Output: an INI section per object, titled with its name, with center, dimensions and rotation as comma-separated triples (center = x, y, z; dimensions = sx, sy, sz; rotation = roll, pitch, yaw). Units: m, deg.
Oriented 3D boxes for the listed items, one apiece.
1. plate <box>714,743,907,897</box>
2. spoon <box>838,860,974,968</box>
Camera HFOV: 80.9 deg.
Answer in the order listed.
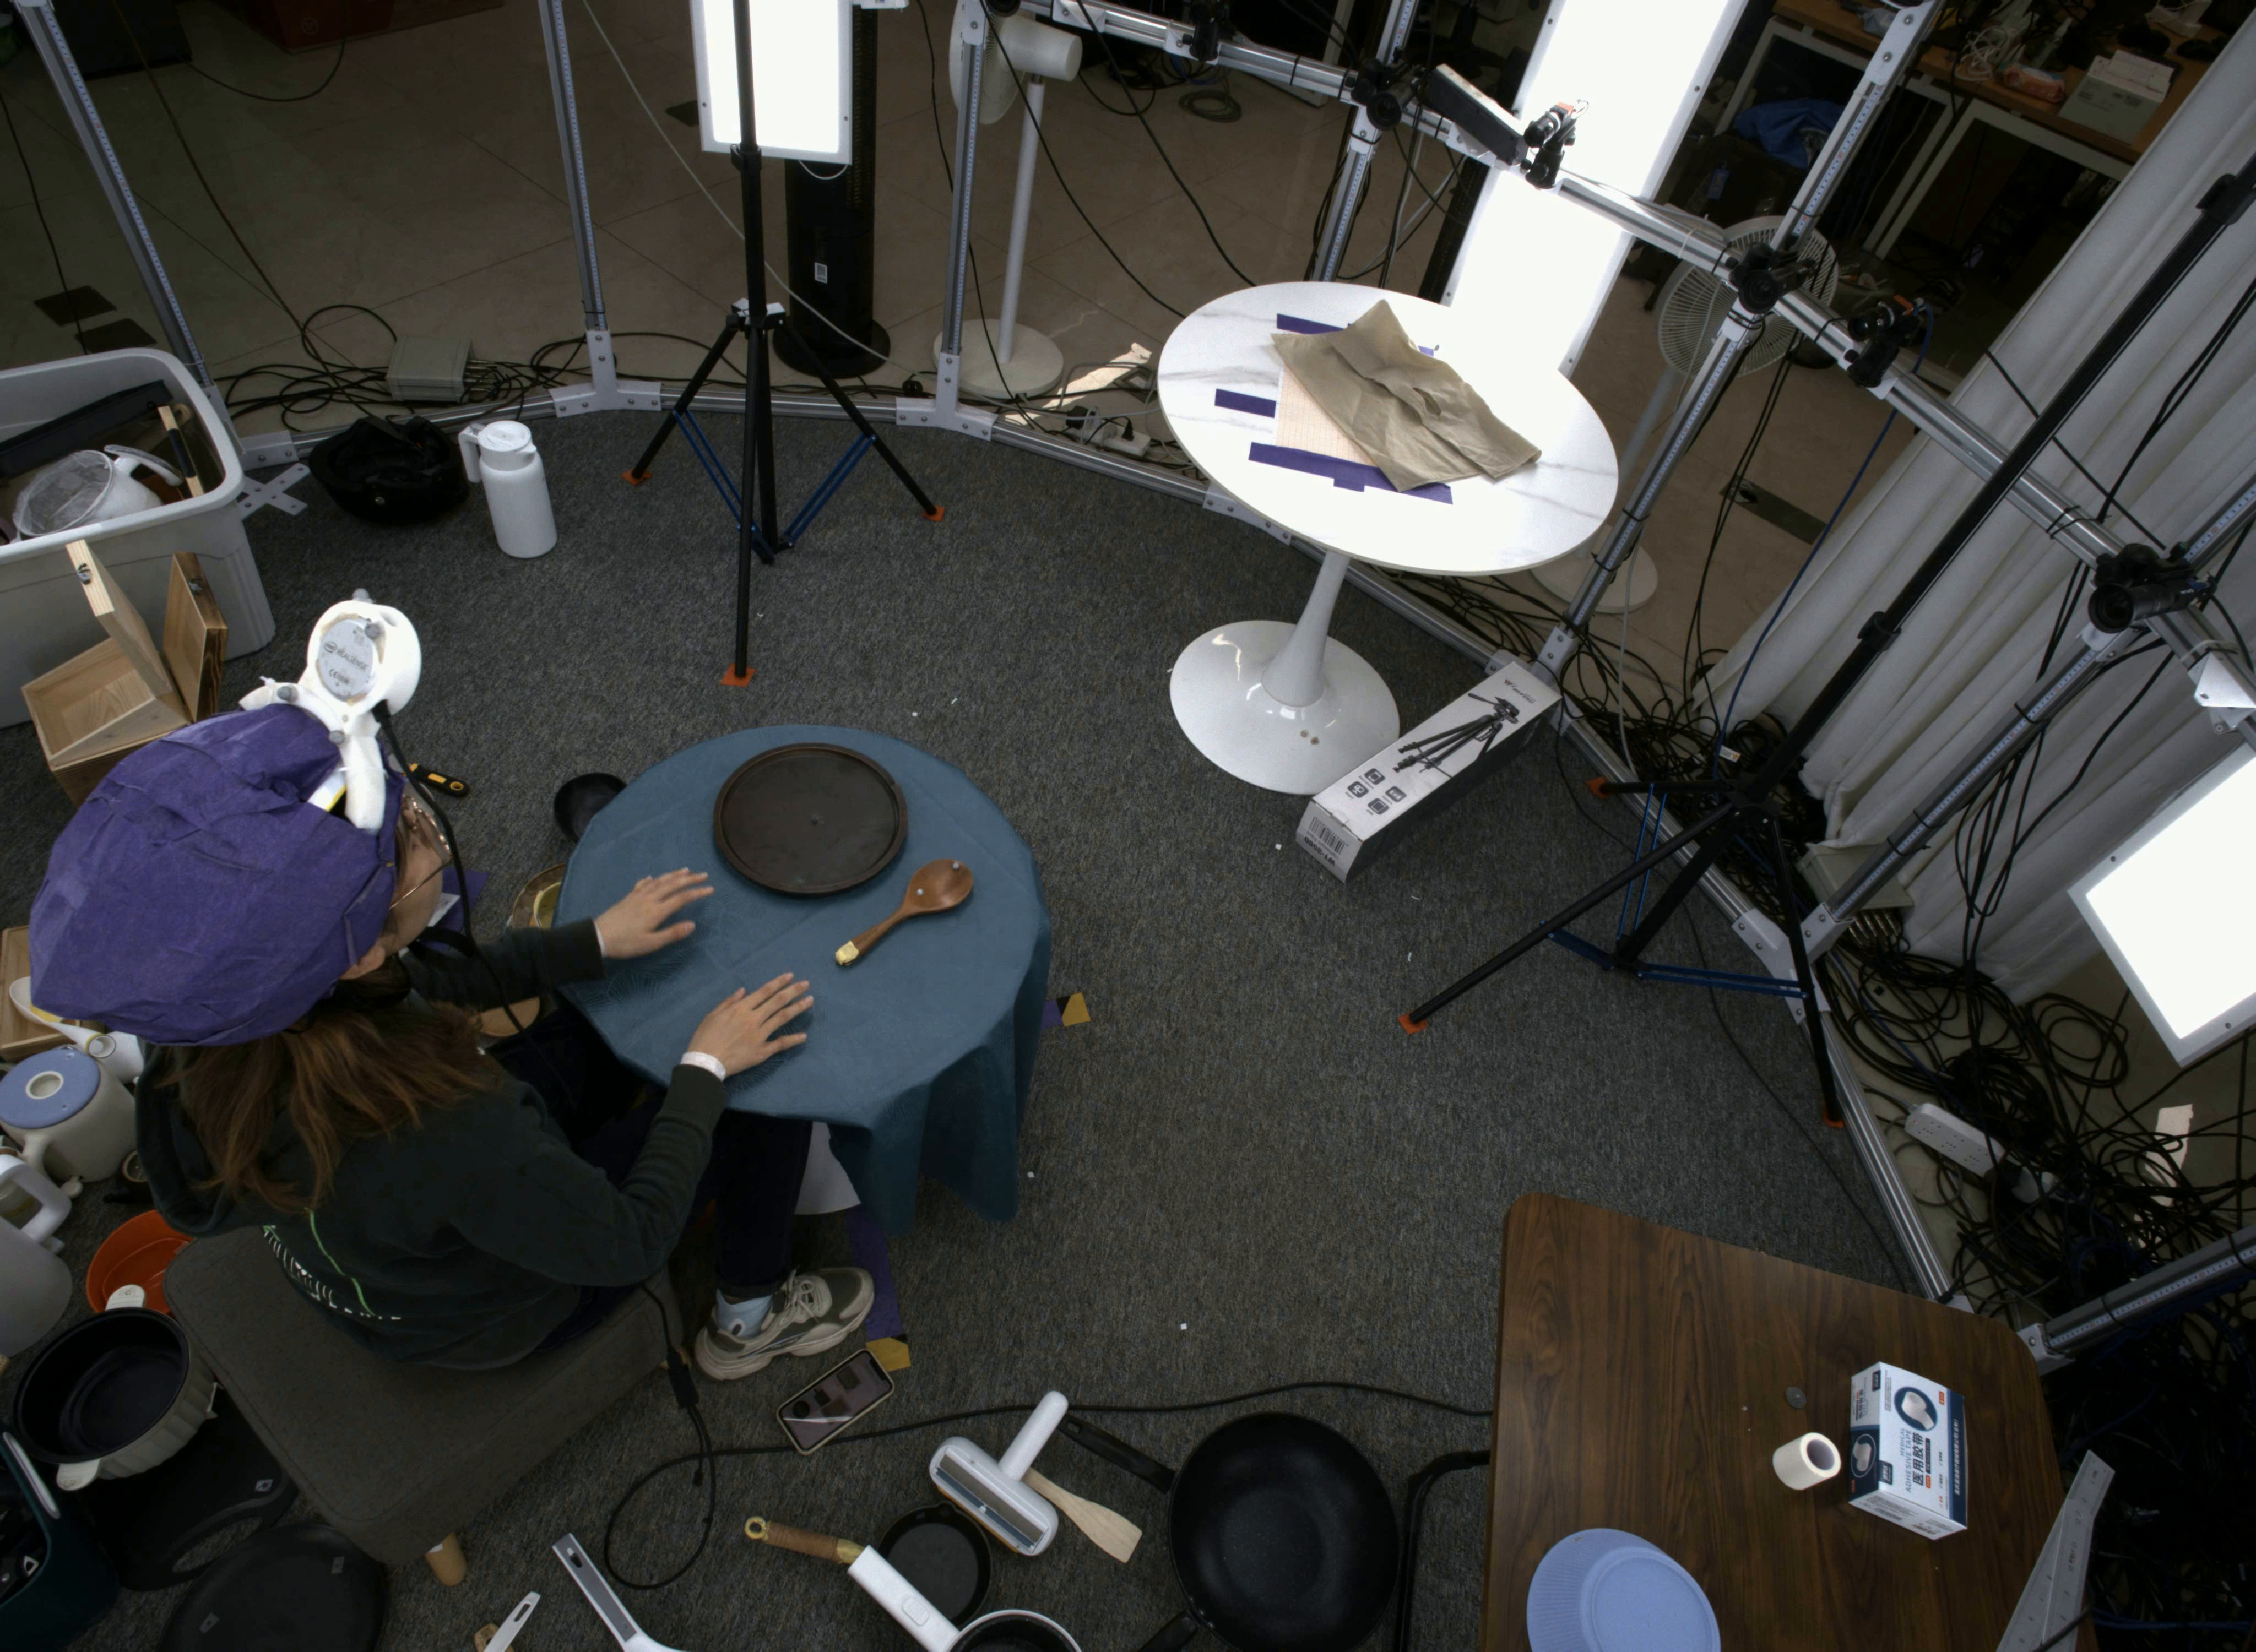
[plate]
center = -0.420, -0.010, 1.723
dimensions = 0.254, 0.029, 0.250
rotation = 8, 51, -9
[spoon]
center = -0.286, 0.113, 1.671
dimensions = 0.074, 0.017, 0.216
rotation = 40, 54, 16
